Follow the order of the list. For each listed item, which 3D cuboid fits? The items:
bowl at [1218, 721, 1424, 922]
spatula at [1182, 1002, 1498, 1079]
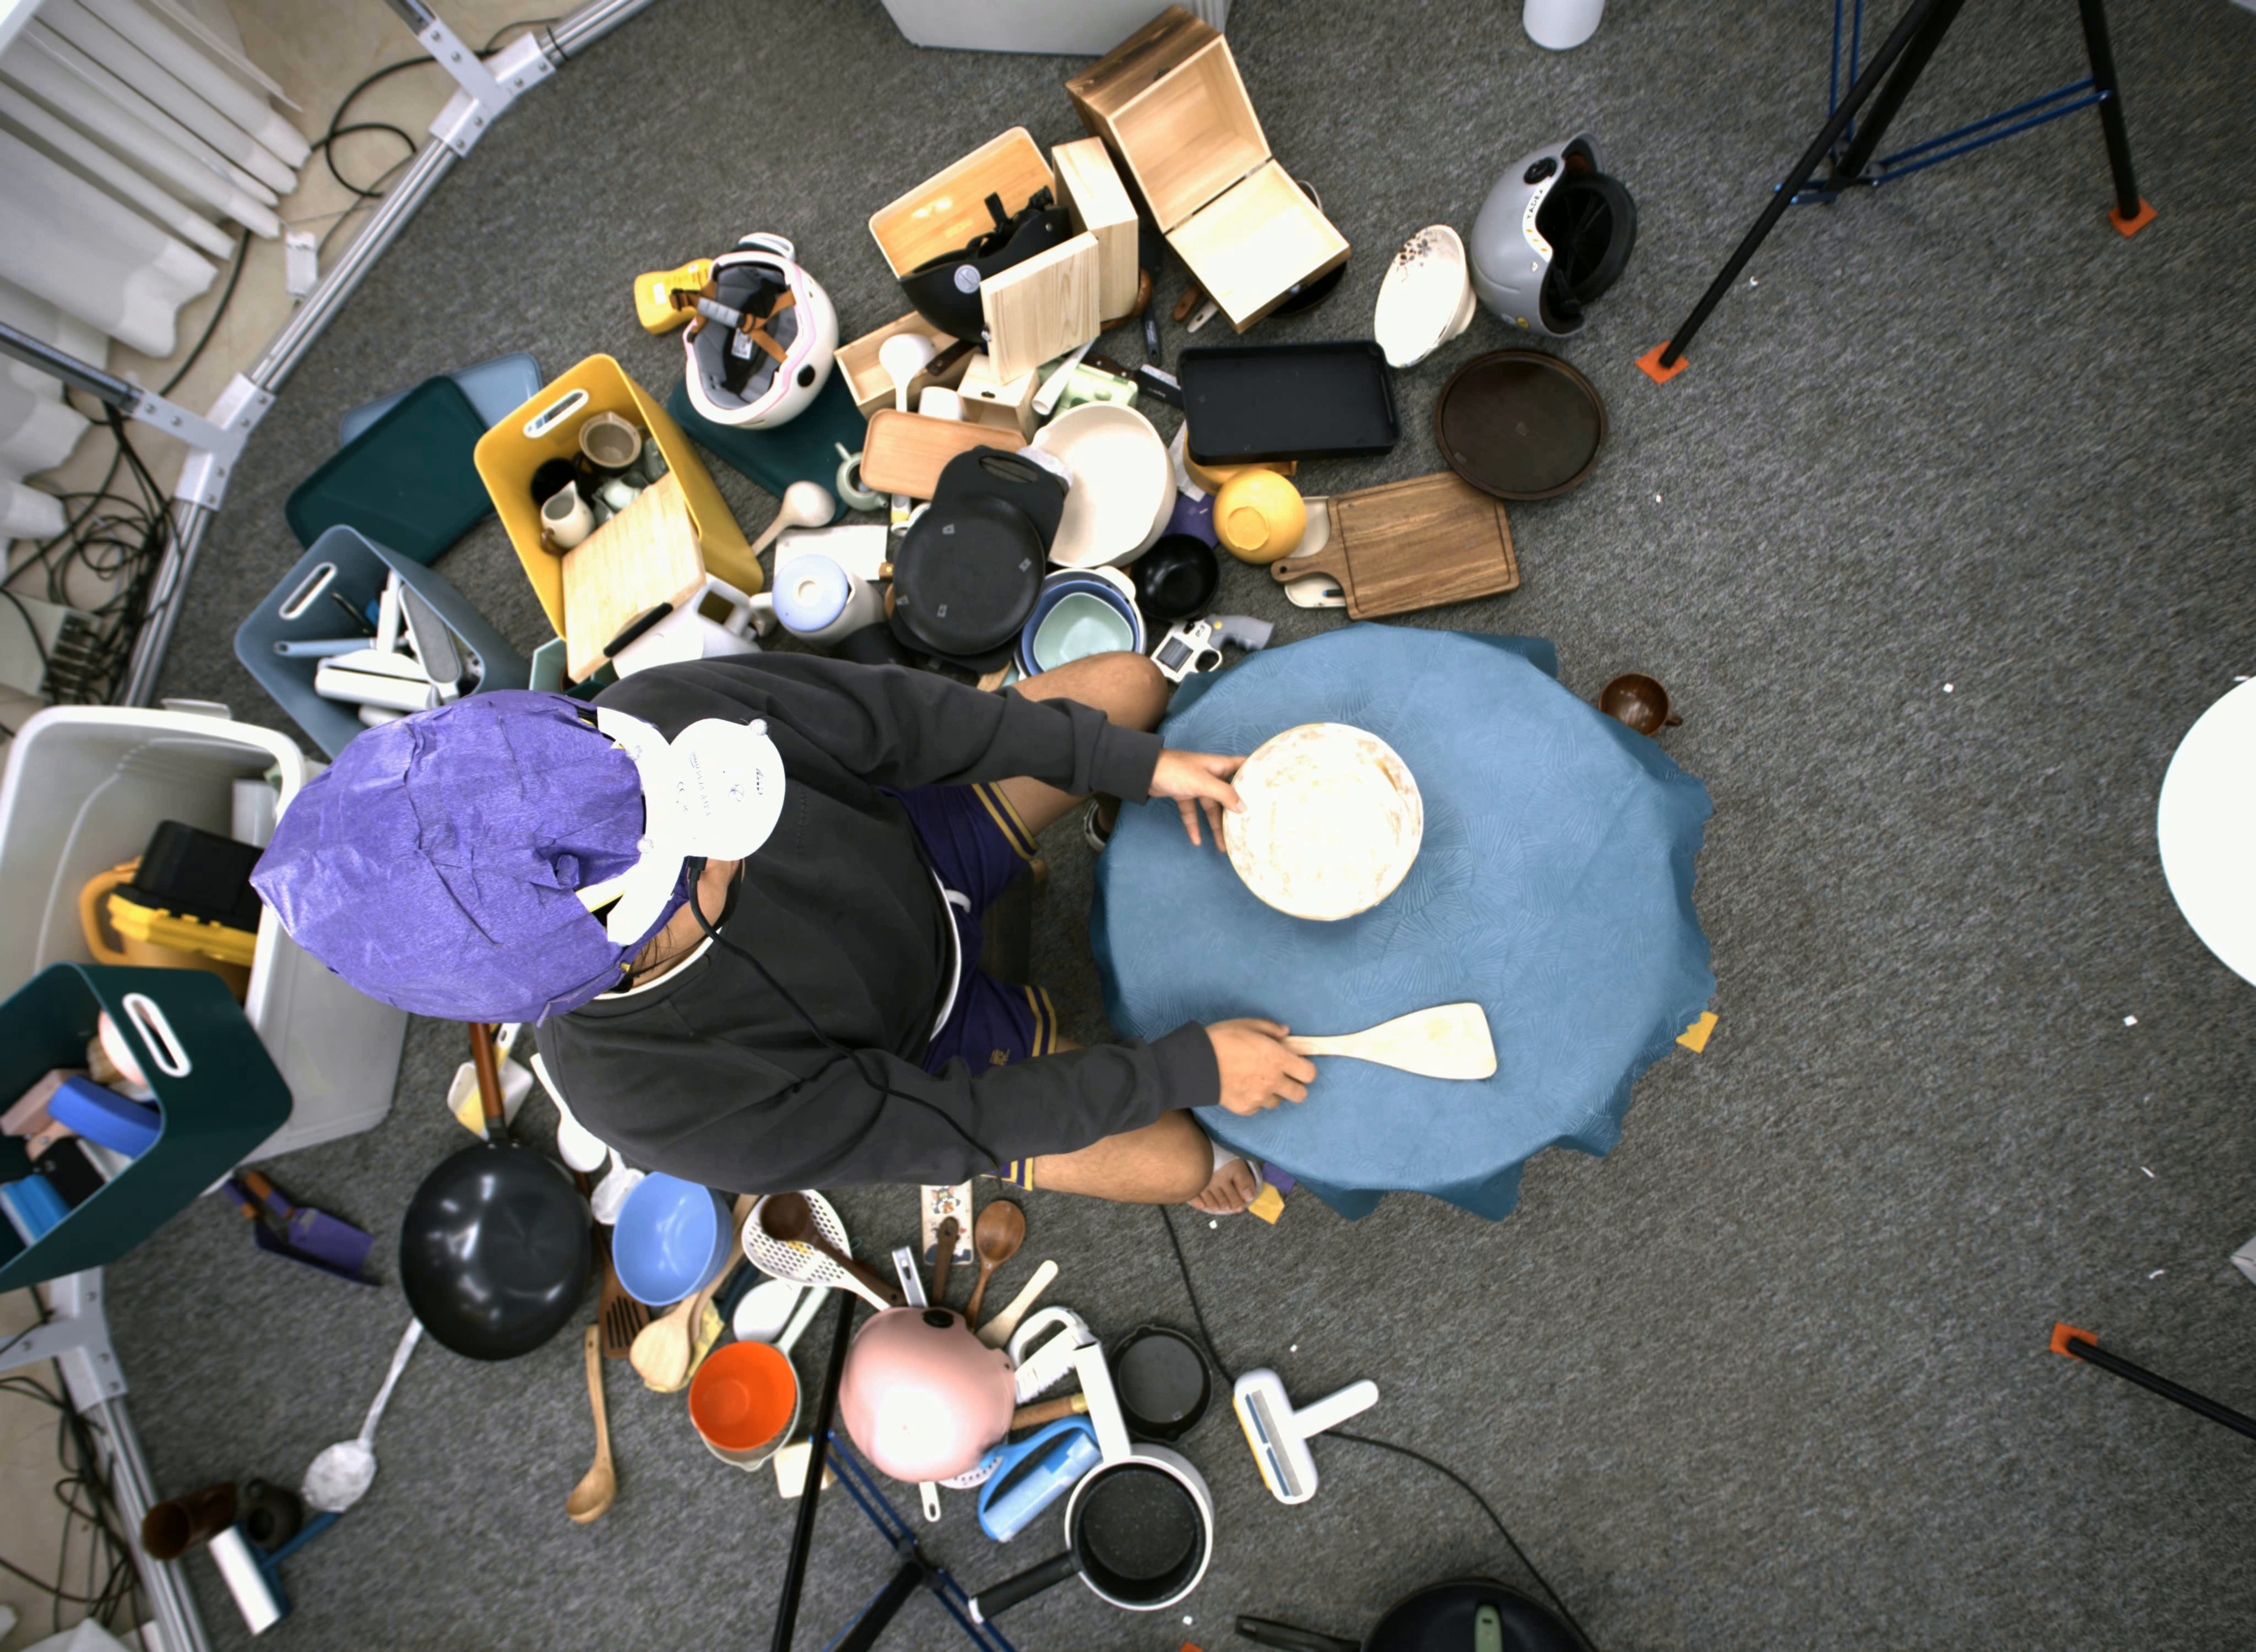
[{"bbox_3d":[0.197,-0.002,1.428,0.215,0.094,0.214,-1,87,9],"label":"bowl"},{"bbox_3d":[0.219,0.227,1.452,0.329,0.016,0.079,-3,87,11],"label":"spatula"}]
